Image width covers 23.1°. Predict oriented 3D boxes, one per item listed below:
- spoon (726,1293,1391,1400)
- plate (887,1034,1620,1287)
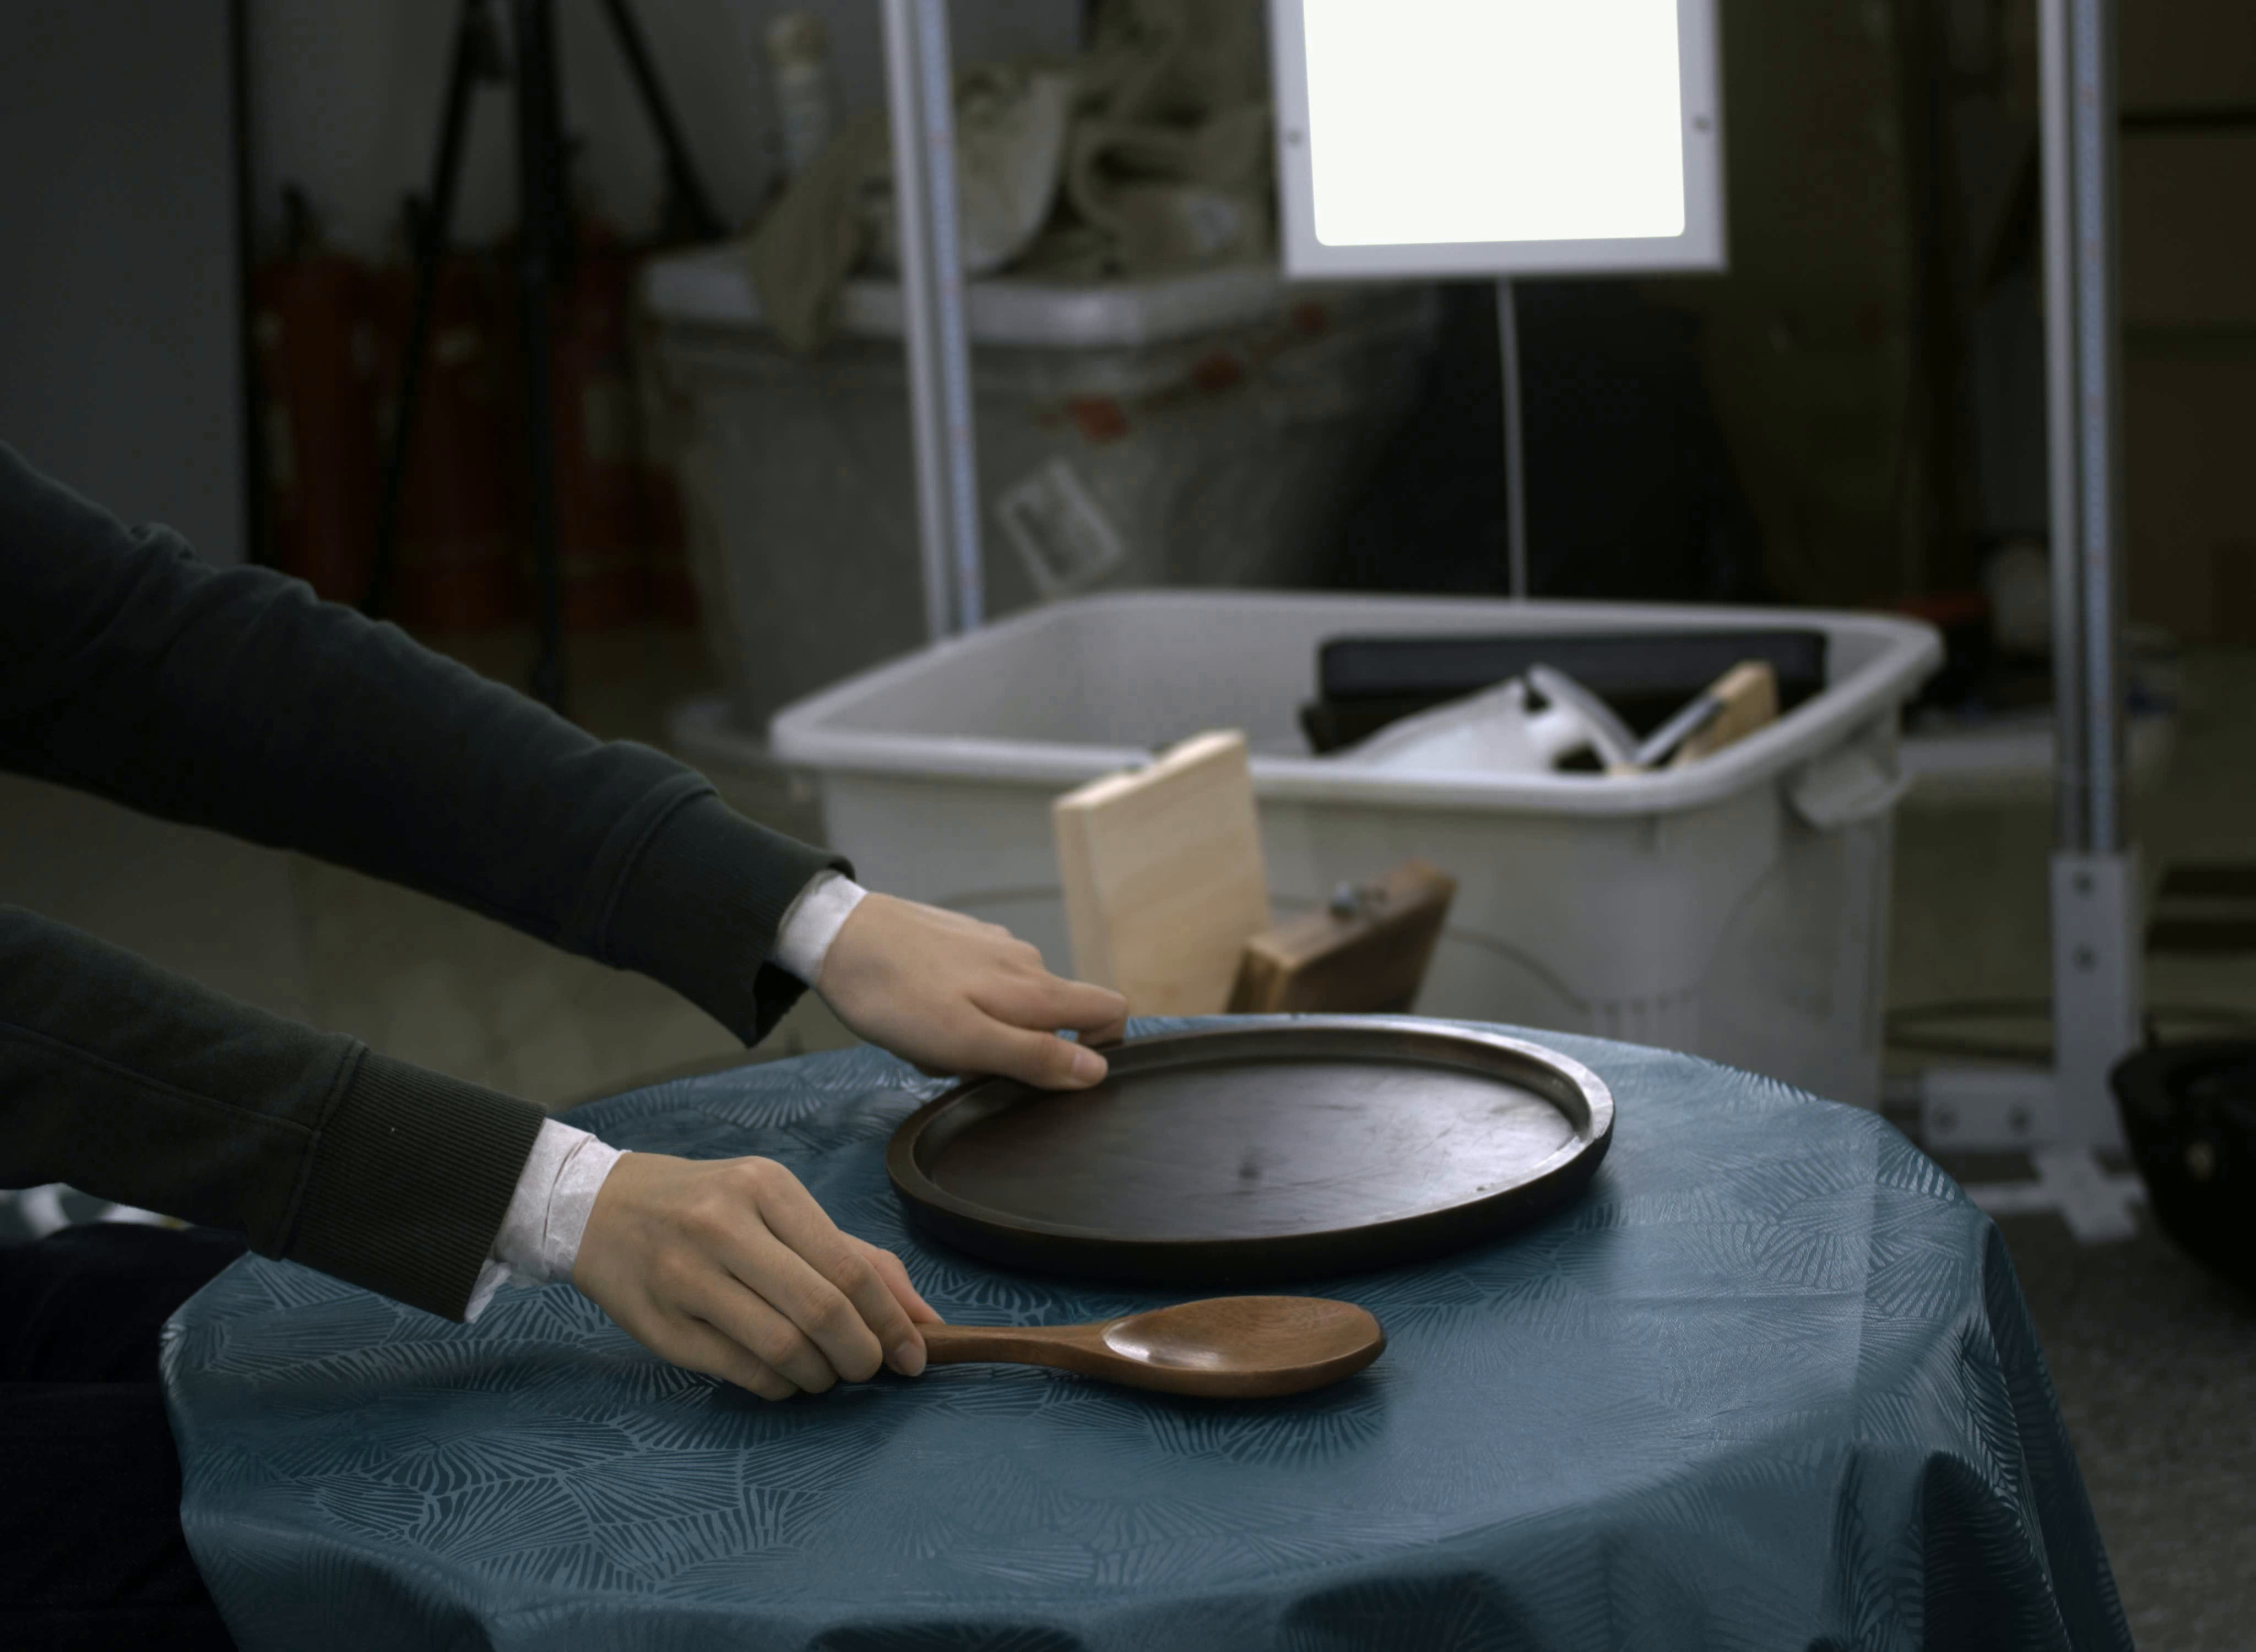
[{"bbox_3d":[-0.023,0.163,1.721,0.218,0.017,0.074,0,15,18],"label":"spoon"},{"bbox_3d":[0.043,0.112,1.894,0.254,0.029,0.254,-4,13,0],"label":"plate"}]
